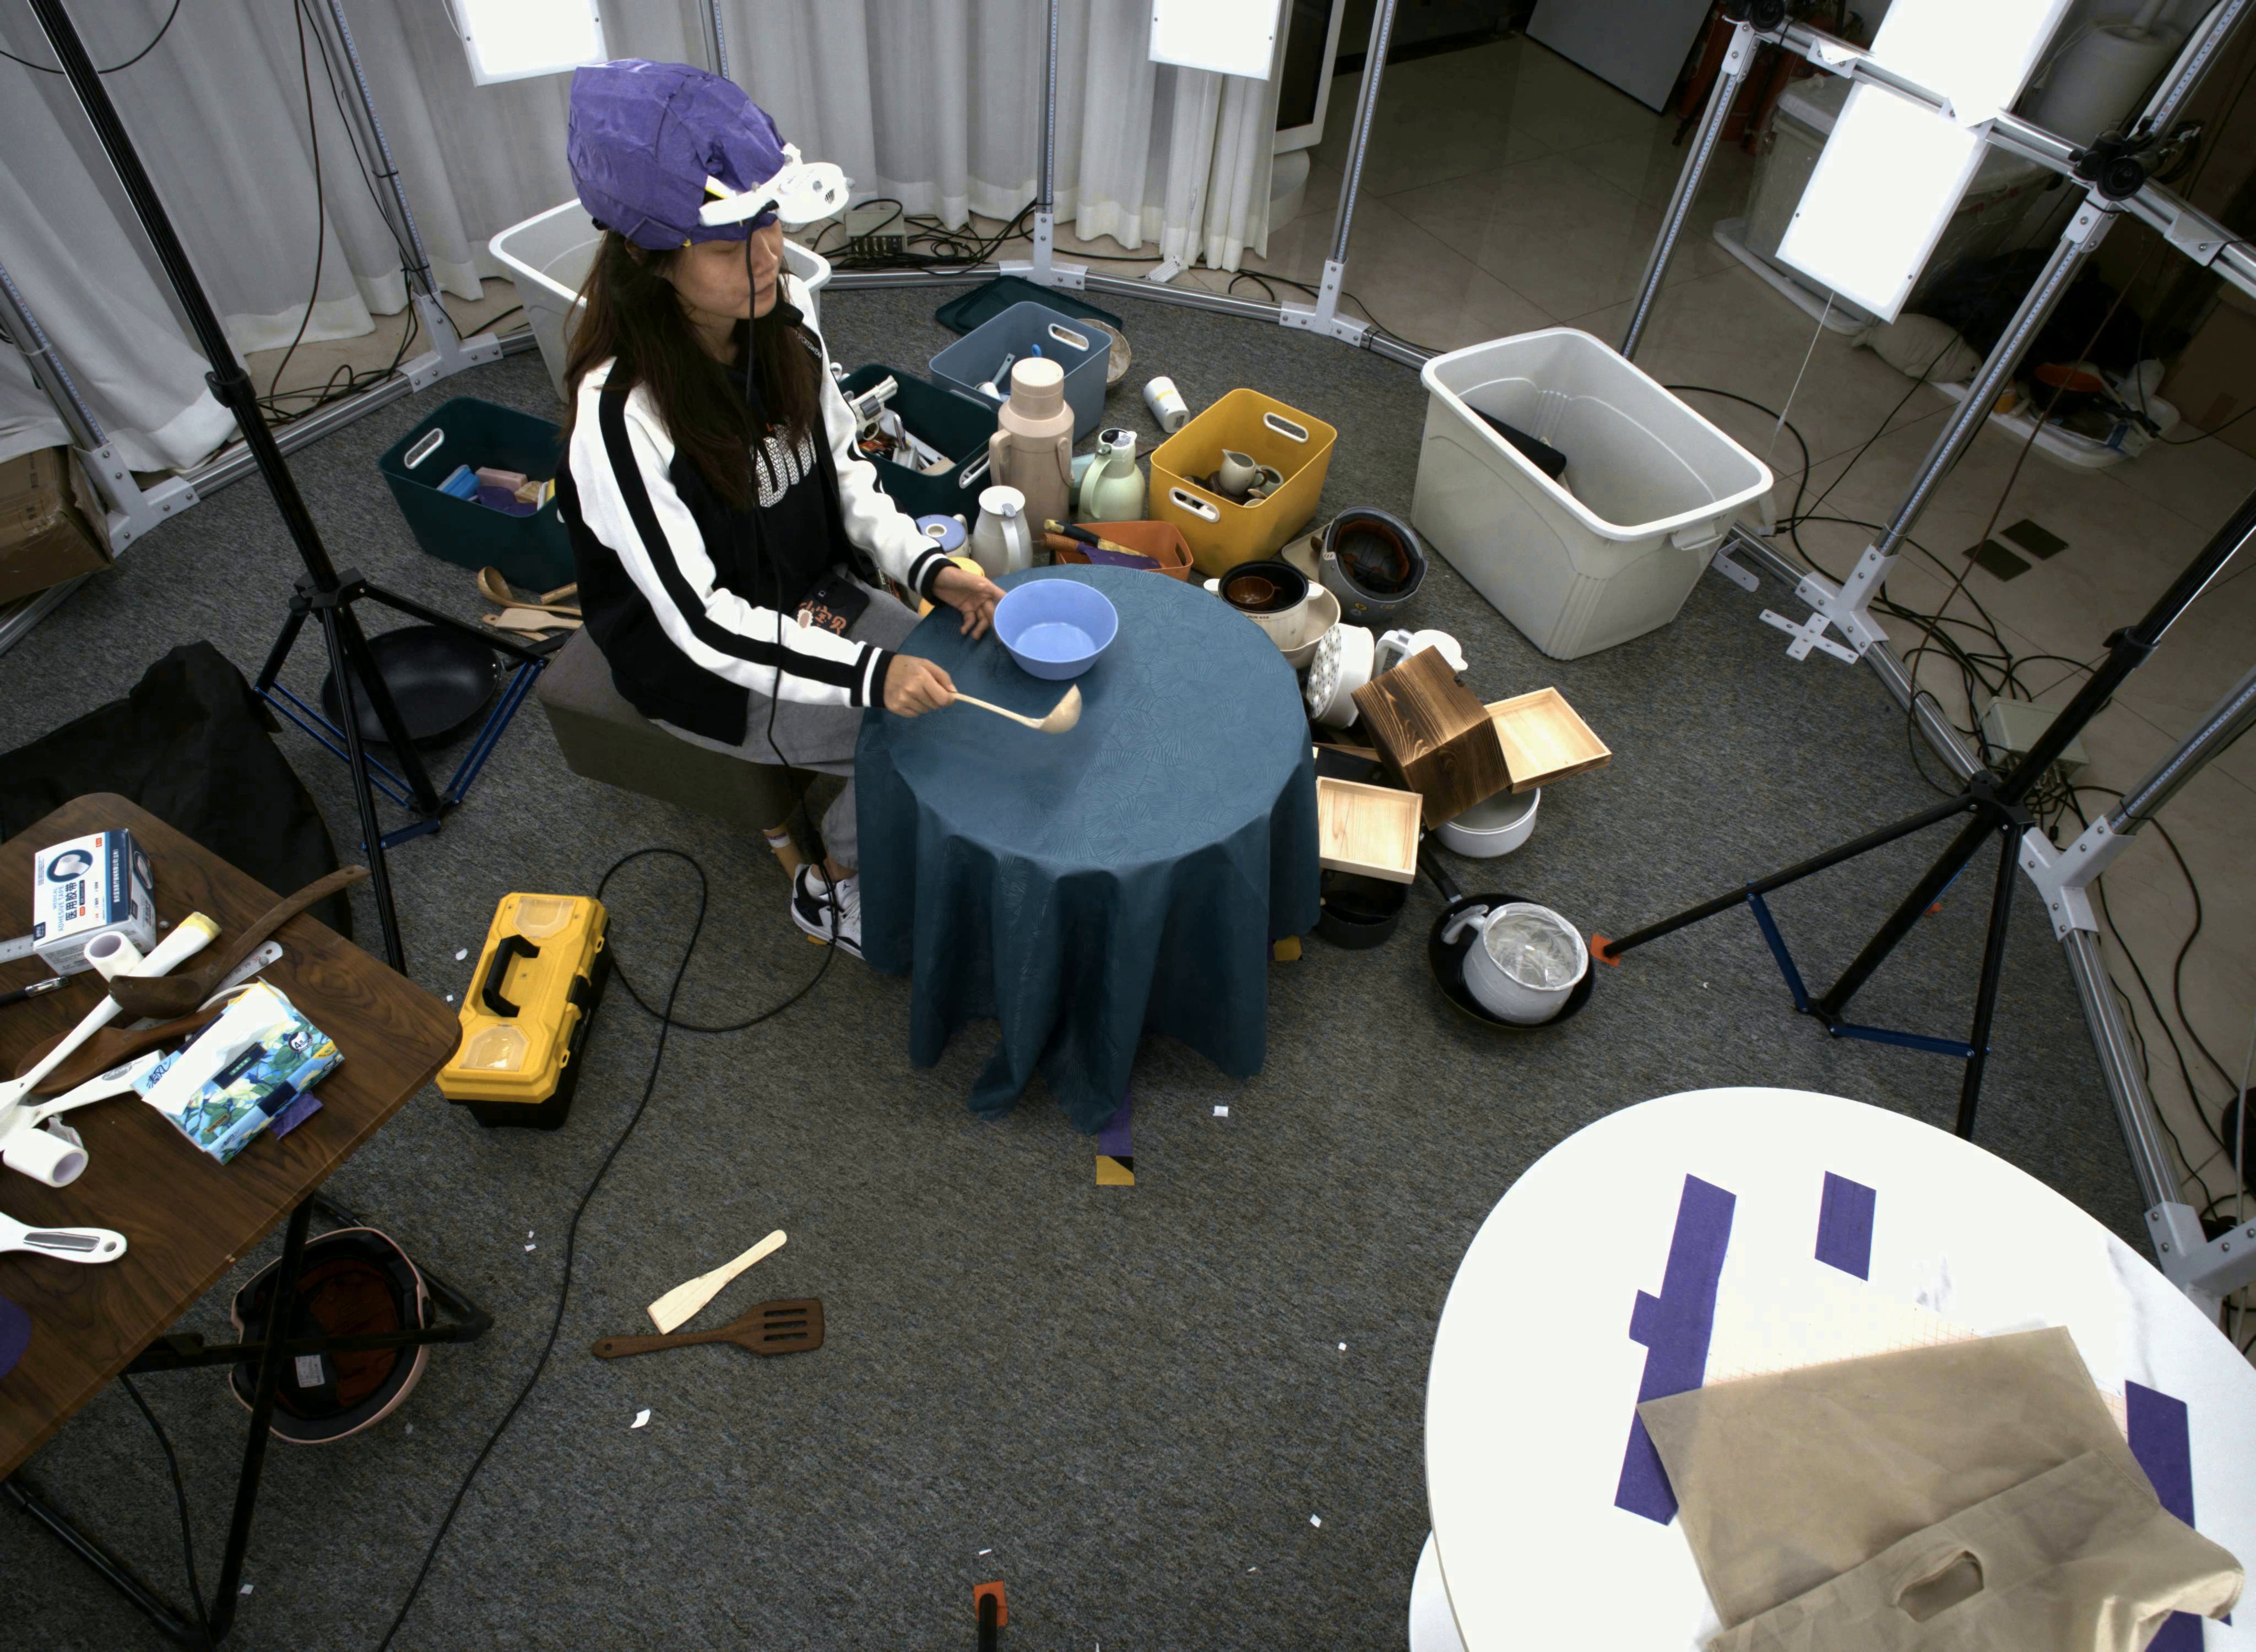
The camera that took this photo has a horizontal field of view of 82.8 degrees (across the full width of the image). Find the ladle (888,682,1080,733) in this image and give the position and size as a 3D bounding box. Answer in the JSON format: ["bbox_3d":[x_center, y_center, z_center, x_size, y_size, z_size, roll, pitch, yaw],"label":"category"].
[{"bbox_3d":[-0.188,-0.183,1.684,0.255,0.071,0.073,16,25,5],"label":"ladle"}]

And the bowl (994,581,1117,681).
[{"bbox_3d":[-0.105,-0.272,1.854,0.176,0.068,0.180,2,48,-3],"label":"bowl"}]
